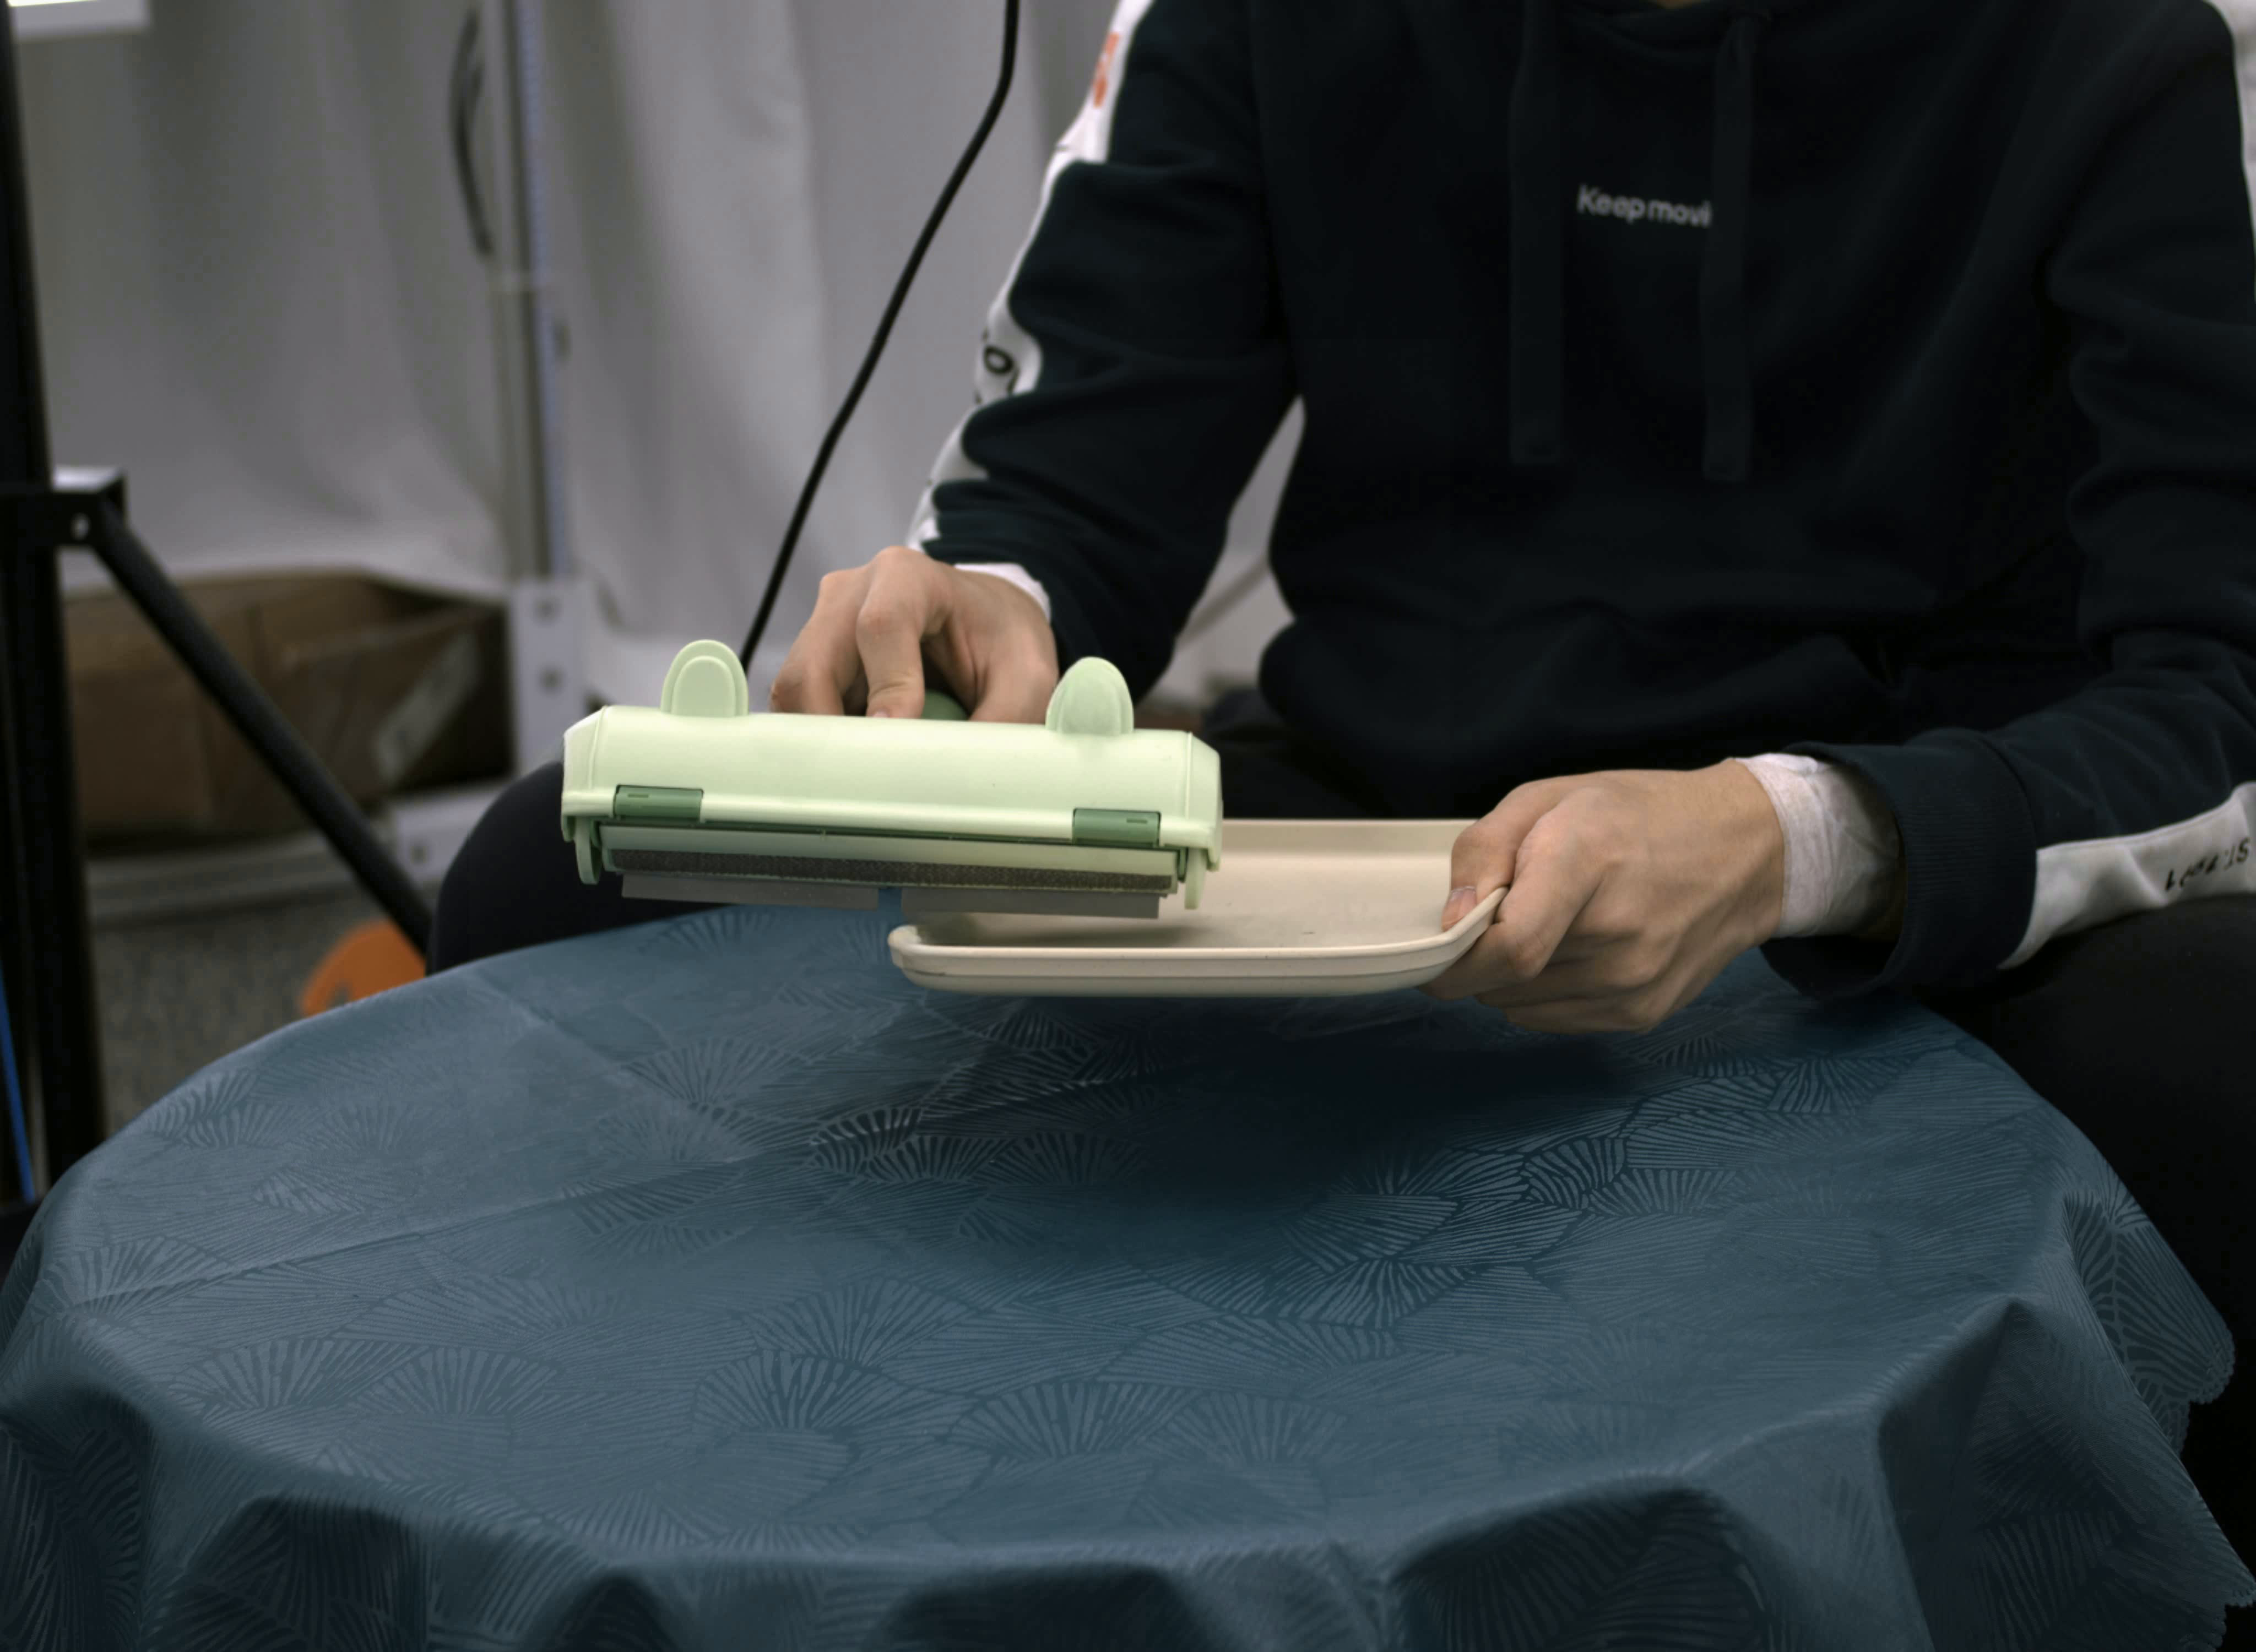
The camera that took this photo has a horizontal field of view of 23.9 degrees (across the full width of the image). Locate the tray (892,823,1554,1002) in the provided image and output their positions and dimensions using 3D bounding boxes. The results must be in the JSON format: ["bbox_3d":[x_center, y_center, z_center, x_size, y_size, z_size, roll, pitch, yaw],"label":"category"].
[{"bbox_3d":[0.034,0.026,1.622,0.172,0.017,0.237,0,9,14],"label":"tray"}]

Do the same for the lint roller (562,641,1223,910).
[{"bbox_3d":[-0.068,-0.032,1.650,0.198,0.082,0.184,2,21,3],"label":"lint roller"}]
